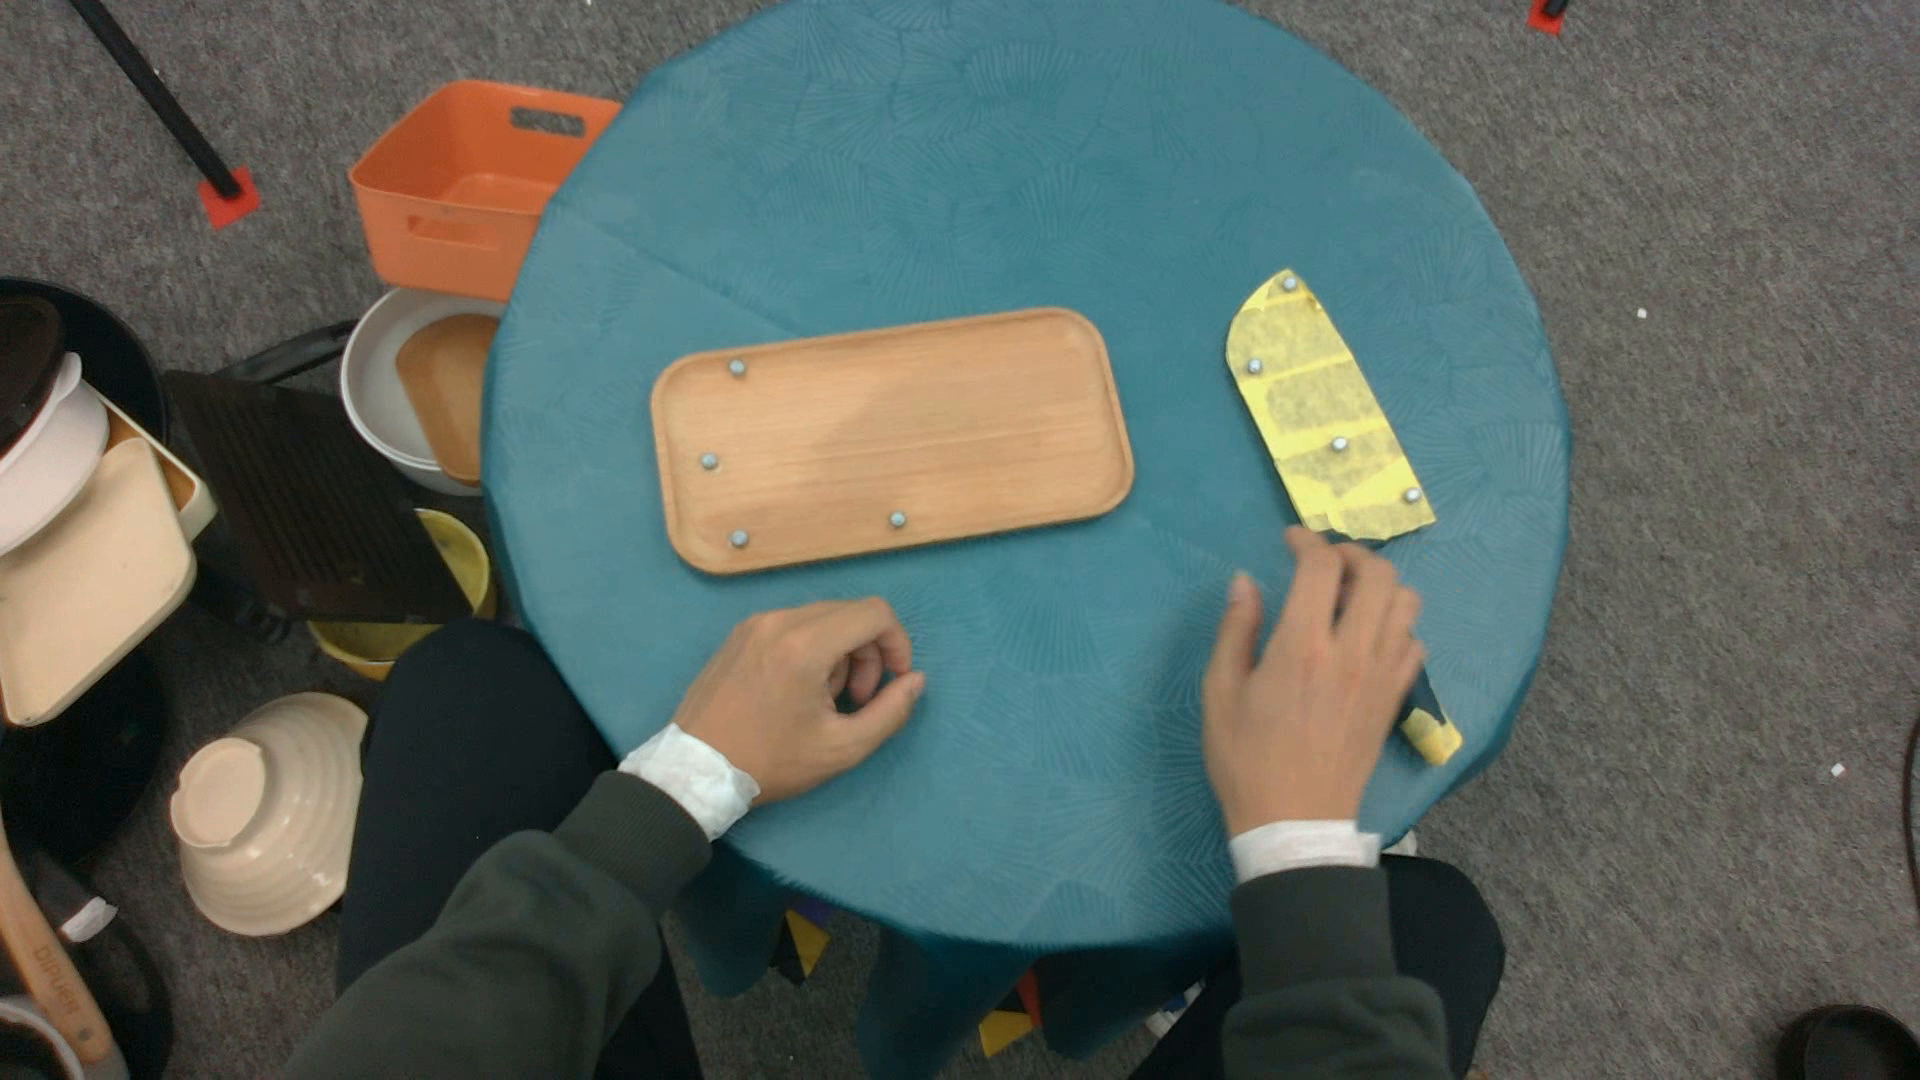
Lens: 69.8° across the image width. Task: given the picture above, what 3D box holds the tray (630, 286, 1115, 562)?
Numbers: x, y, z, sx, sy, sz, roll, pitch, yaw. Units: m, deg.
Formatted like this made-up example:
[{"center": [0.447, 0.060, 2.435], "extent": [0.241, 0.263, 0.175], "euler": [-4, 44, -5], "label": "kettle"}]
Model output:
[{"center": [-0.046, -0.065, 0.741], "extent": [0.251, 0.023, 0.131], "euler": [-9, 74, -9], "label": "tray"}]

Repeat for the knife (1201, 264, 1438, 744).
[{"center": [0.205, -0.030, 0.756], "extent": [0.081, 0.027, 0.290], "euler": [-14, 72, -11], "label": "knife"}]
